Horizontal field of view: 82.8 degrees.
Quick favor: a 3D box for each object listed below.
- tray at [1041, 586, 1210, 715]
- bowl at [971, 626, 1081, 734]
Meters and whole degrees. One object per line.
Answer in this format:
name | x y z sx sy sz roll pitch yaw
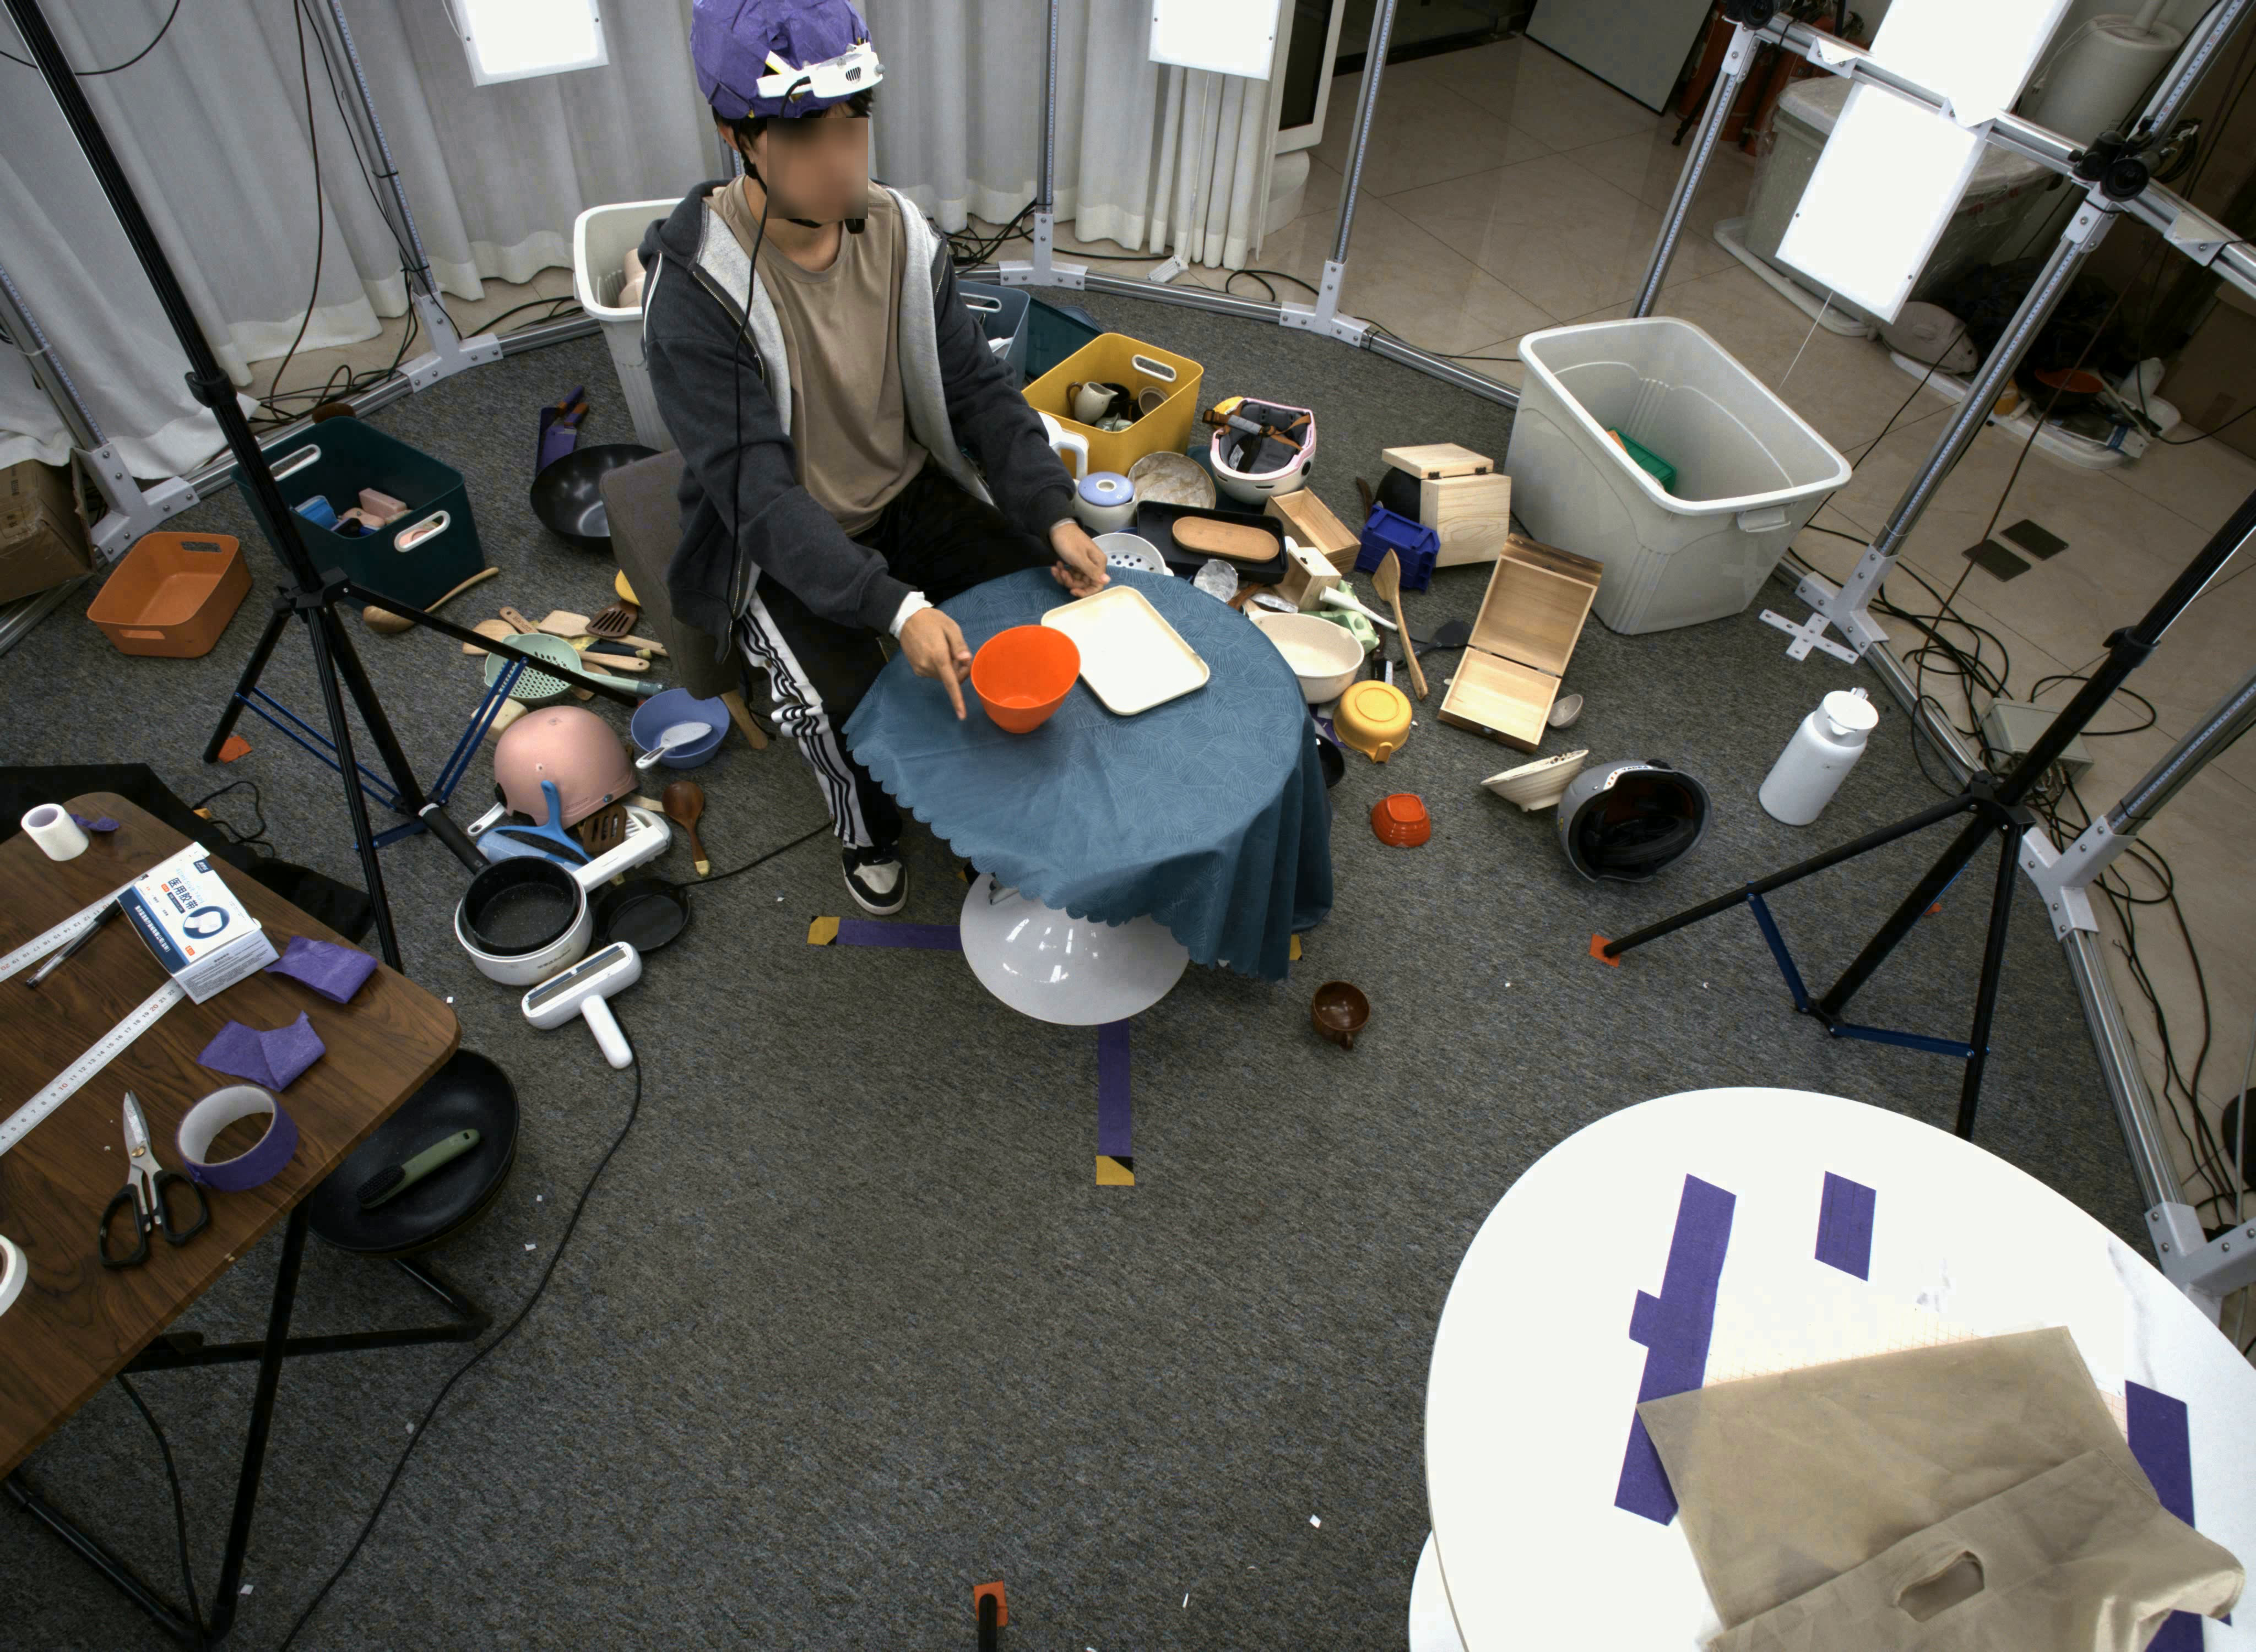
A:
tray | -0.005 -0.258 1.879 0.172 0.017 0.244 -24 55 -22
bowl | -0.139 -0.188 1.755 0.148 0.102 0.152 3 50 -4
